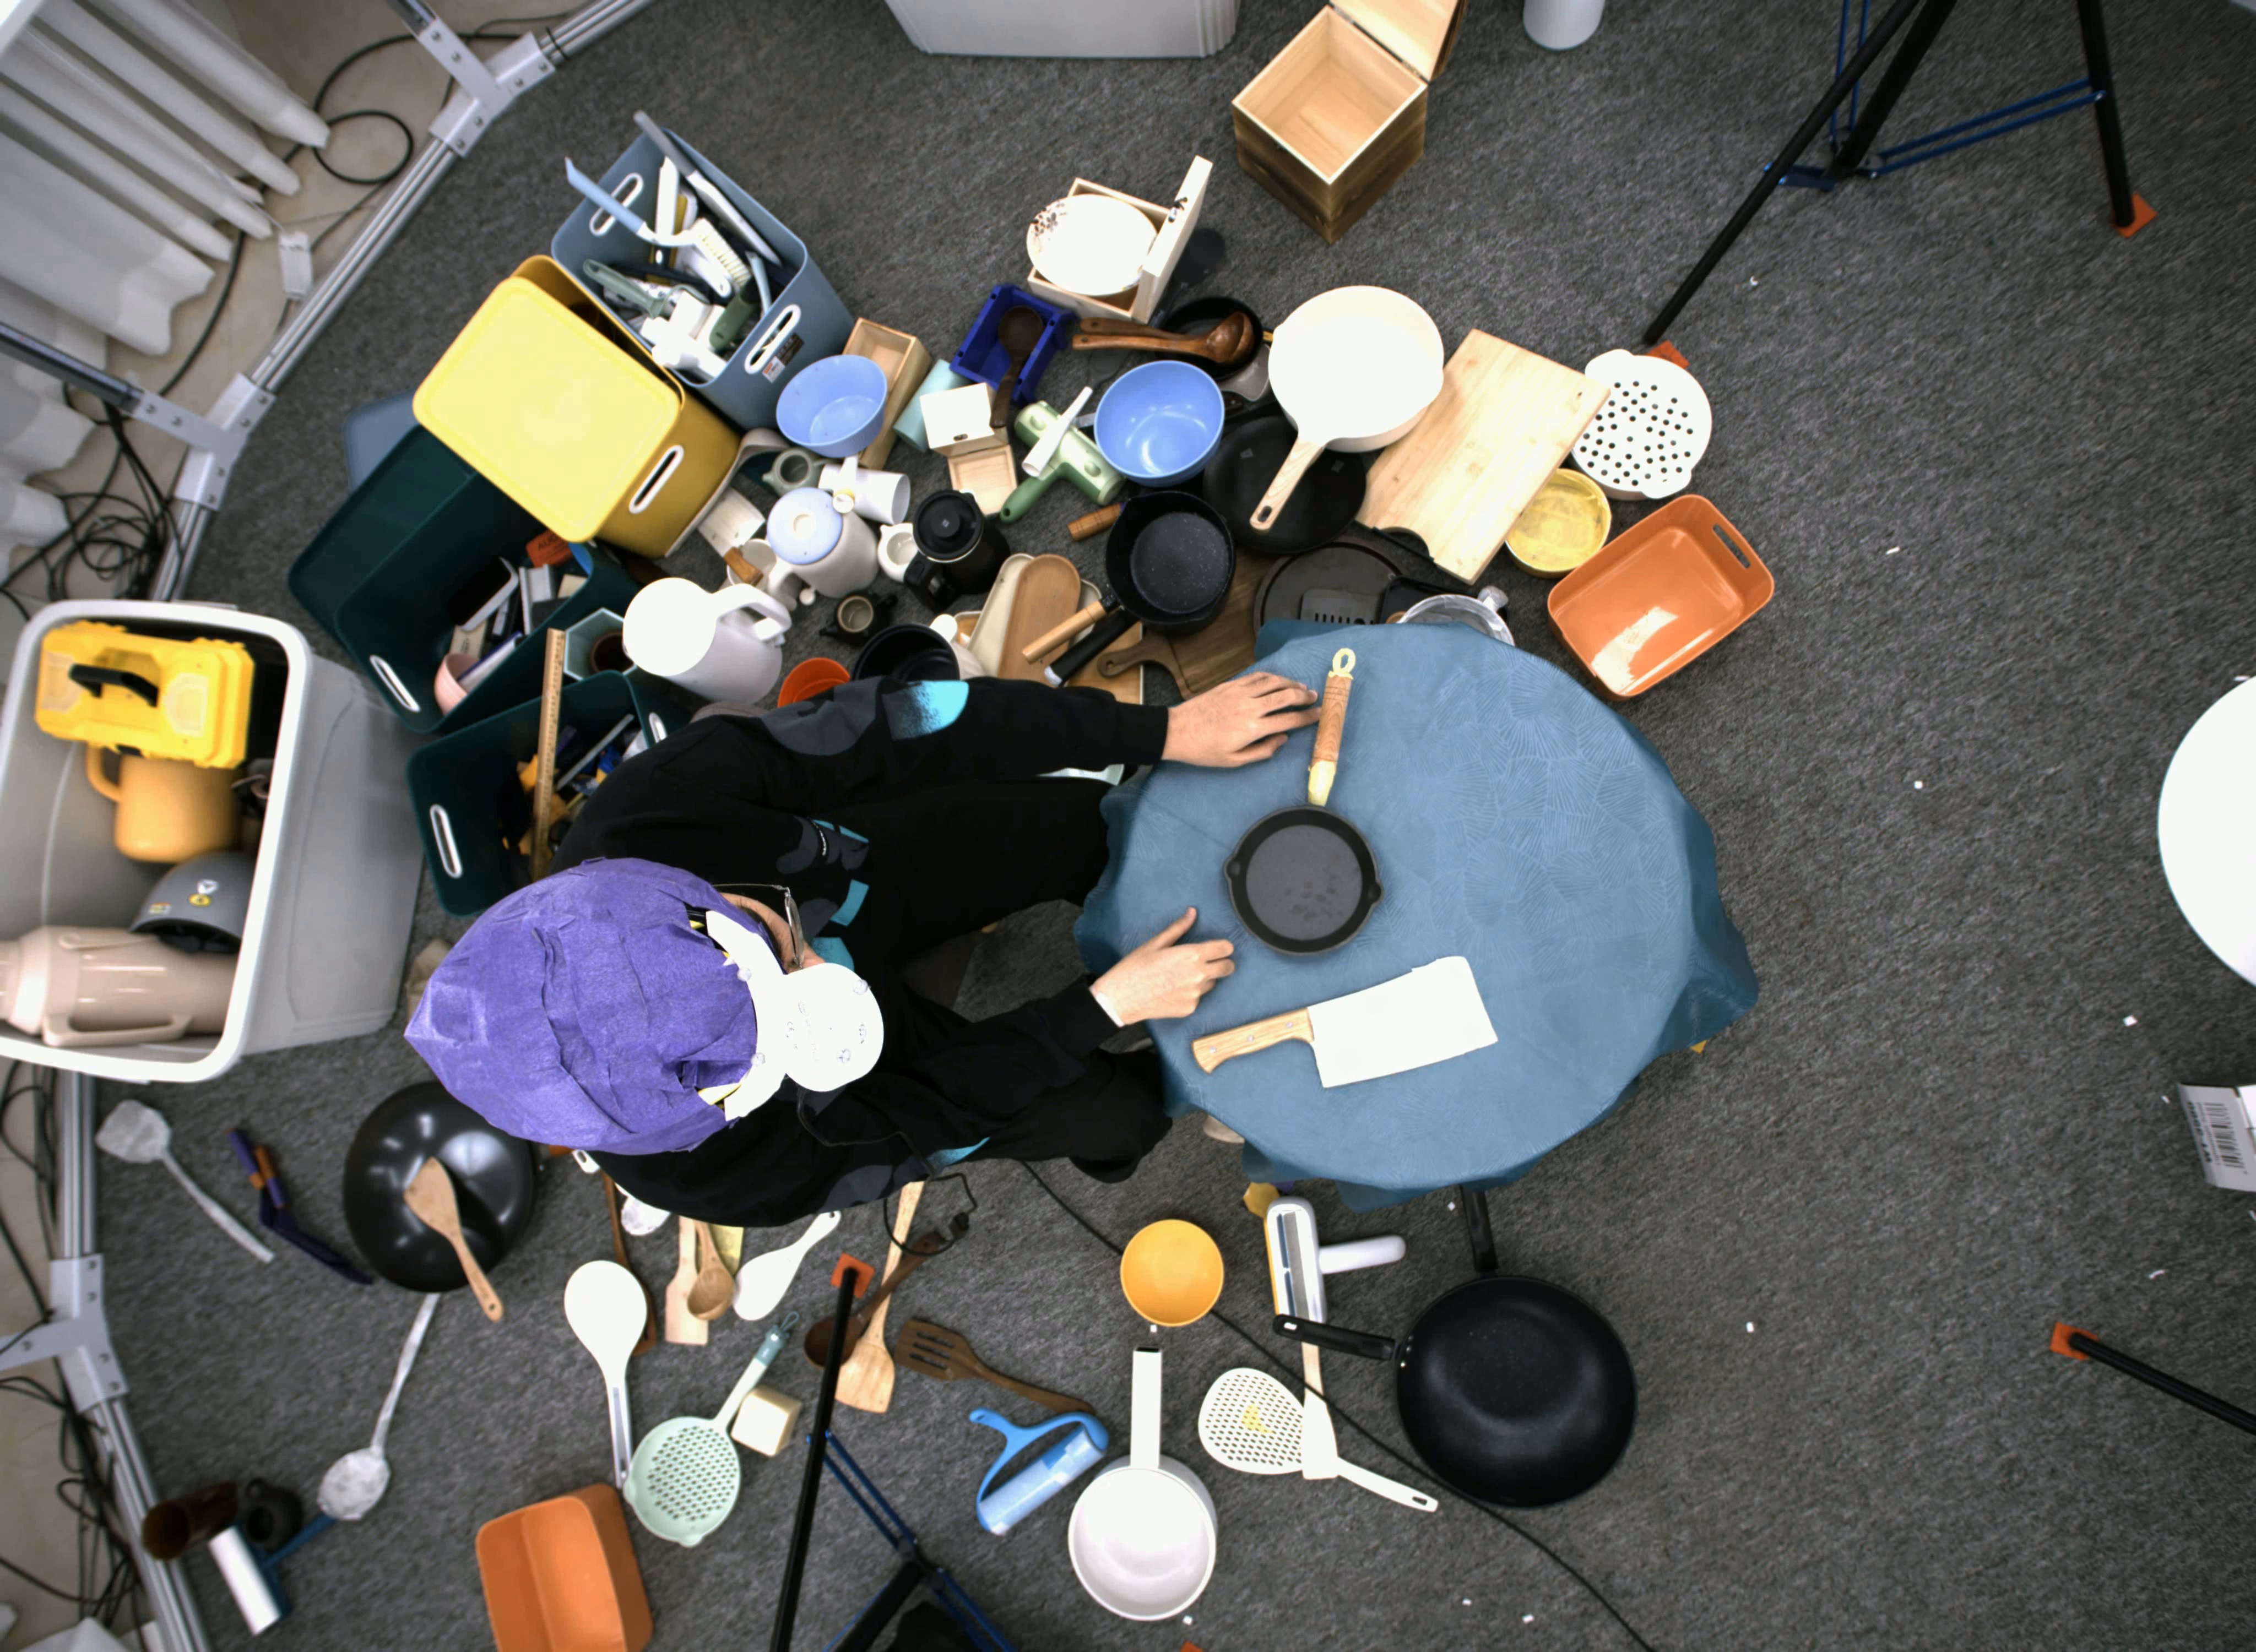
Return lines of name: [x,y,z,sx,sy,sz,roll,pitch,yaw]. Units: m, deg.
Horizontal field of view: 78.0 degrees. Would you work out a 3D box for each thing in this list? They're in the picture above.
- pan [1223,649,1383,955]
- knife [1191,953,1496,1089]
pan: [0.200,-0.026,1.453,0.169,0.049,0.323,11,90,12]
knife: [0.221,0.214,1.452,0.317,0.022,0.113,-13,85,7]
